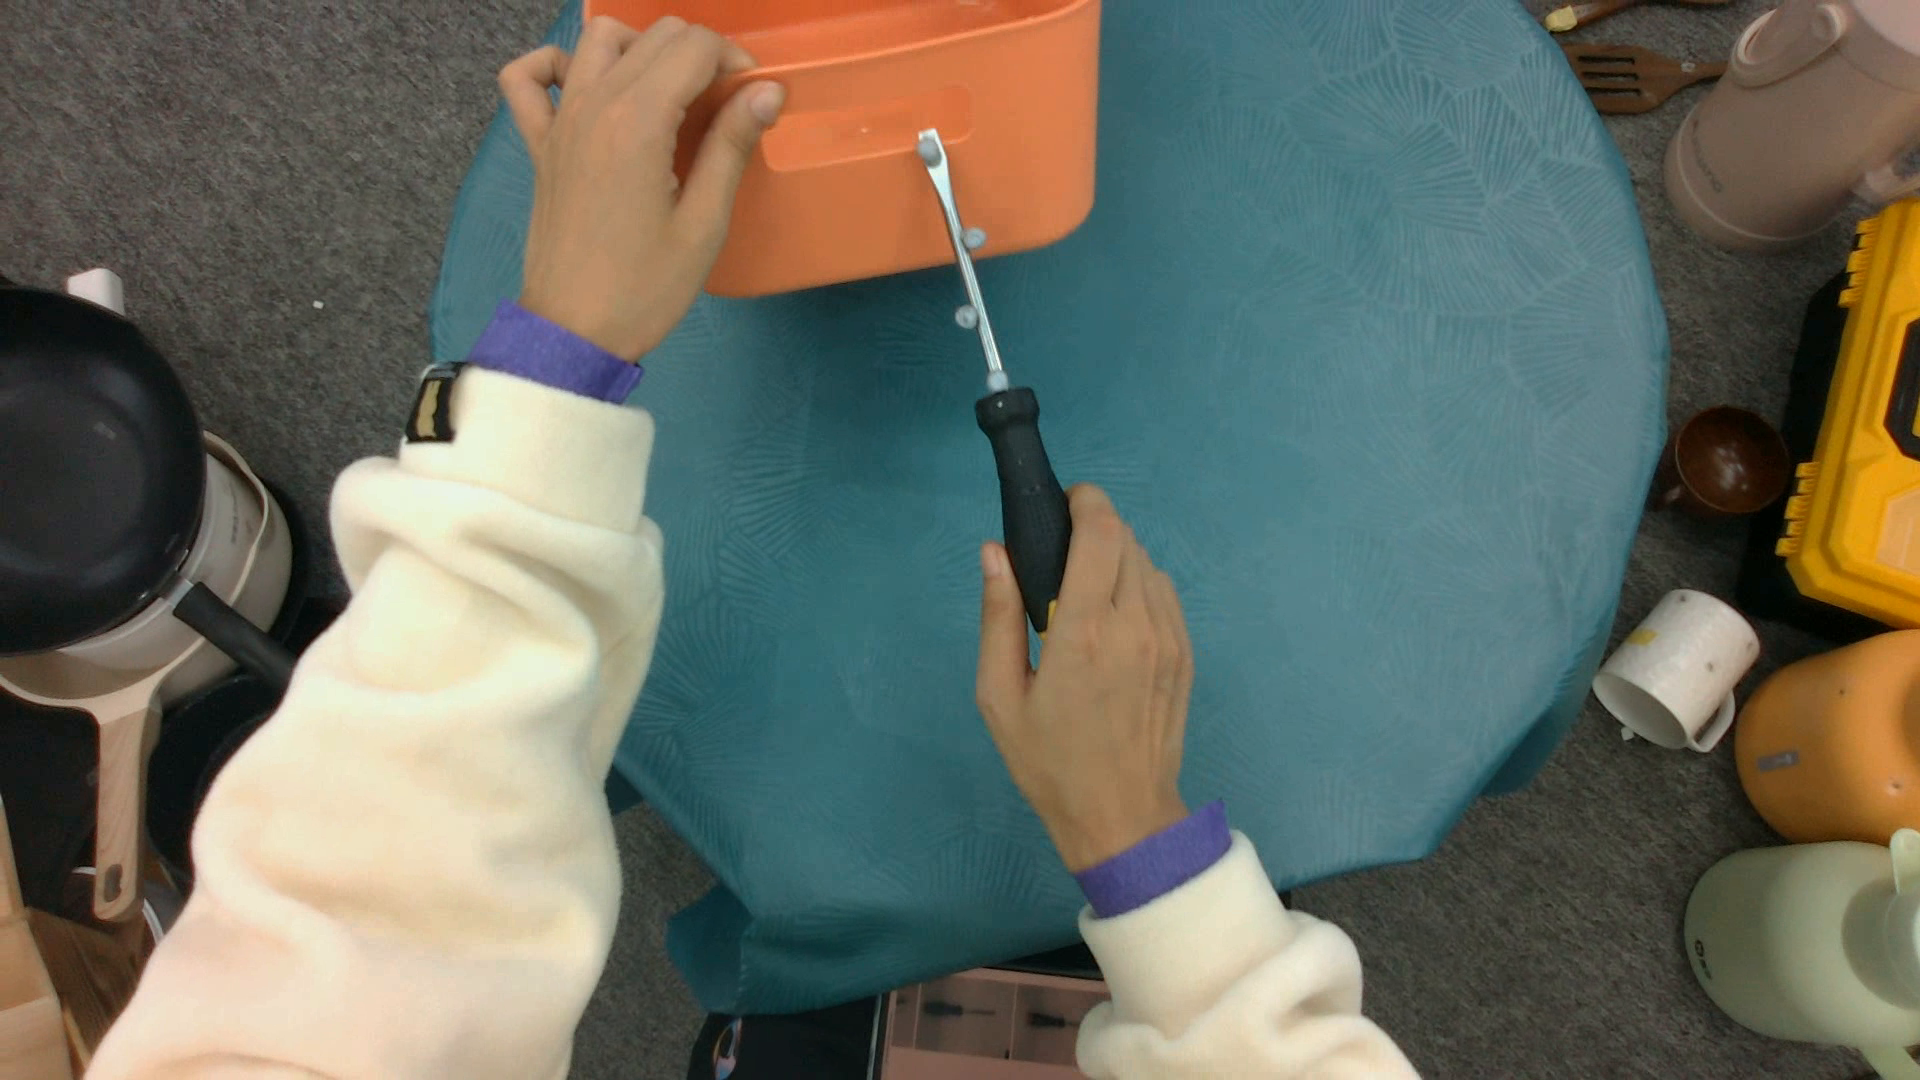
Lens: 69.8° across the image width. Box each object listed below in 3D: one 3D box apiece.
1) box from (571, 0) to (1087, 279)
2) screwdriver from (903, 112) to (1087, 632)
[{"bbox_3d":[-0.056,-0.227,0.603,0.199,0.102,0.274,-10,43,-3],"label":"box"},{"bbox_3d":[0.013,-0.062,0.506,0.031,0.031,0.198,-13,91,-2],"label":"screwdriver"}]
